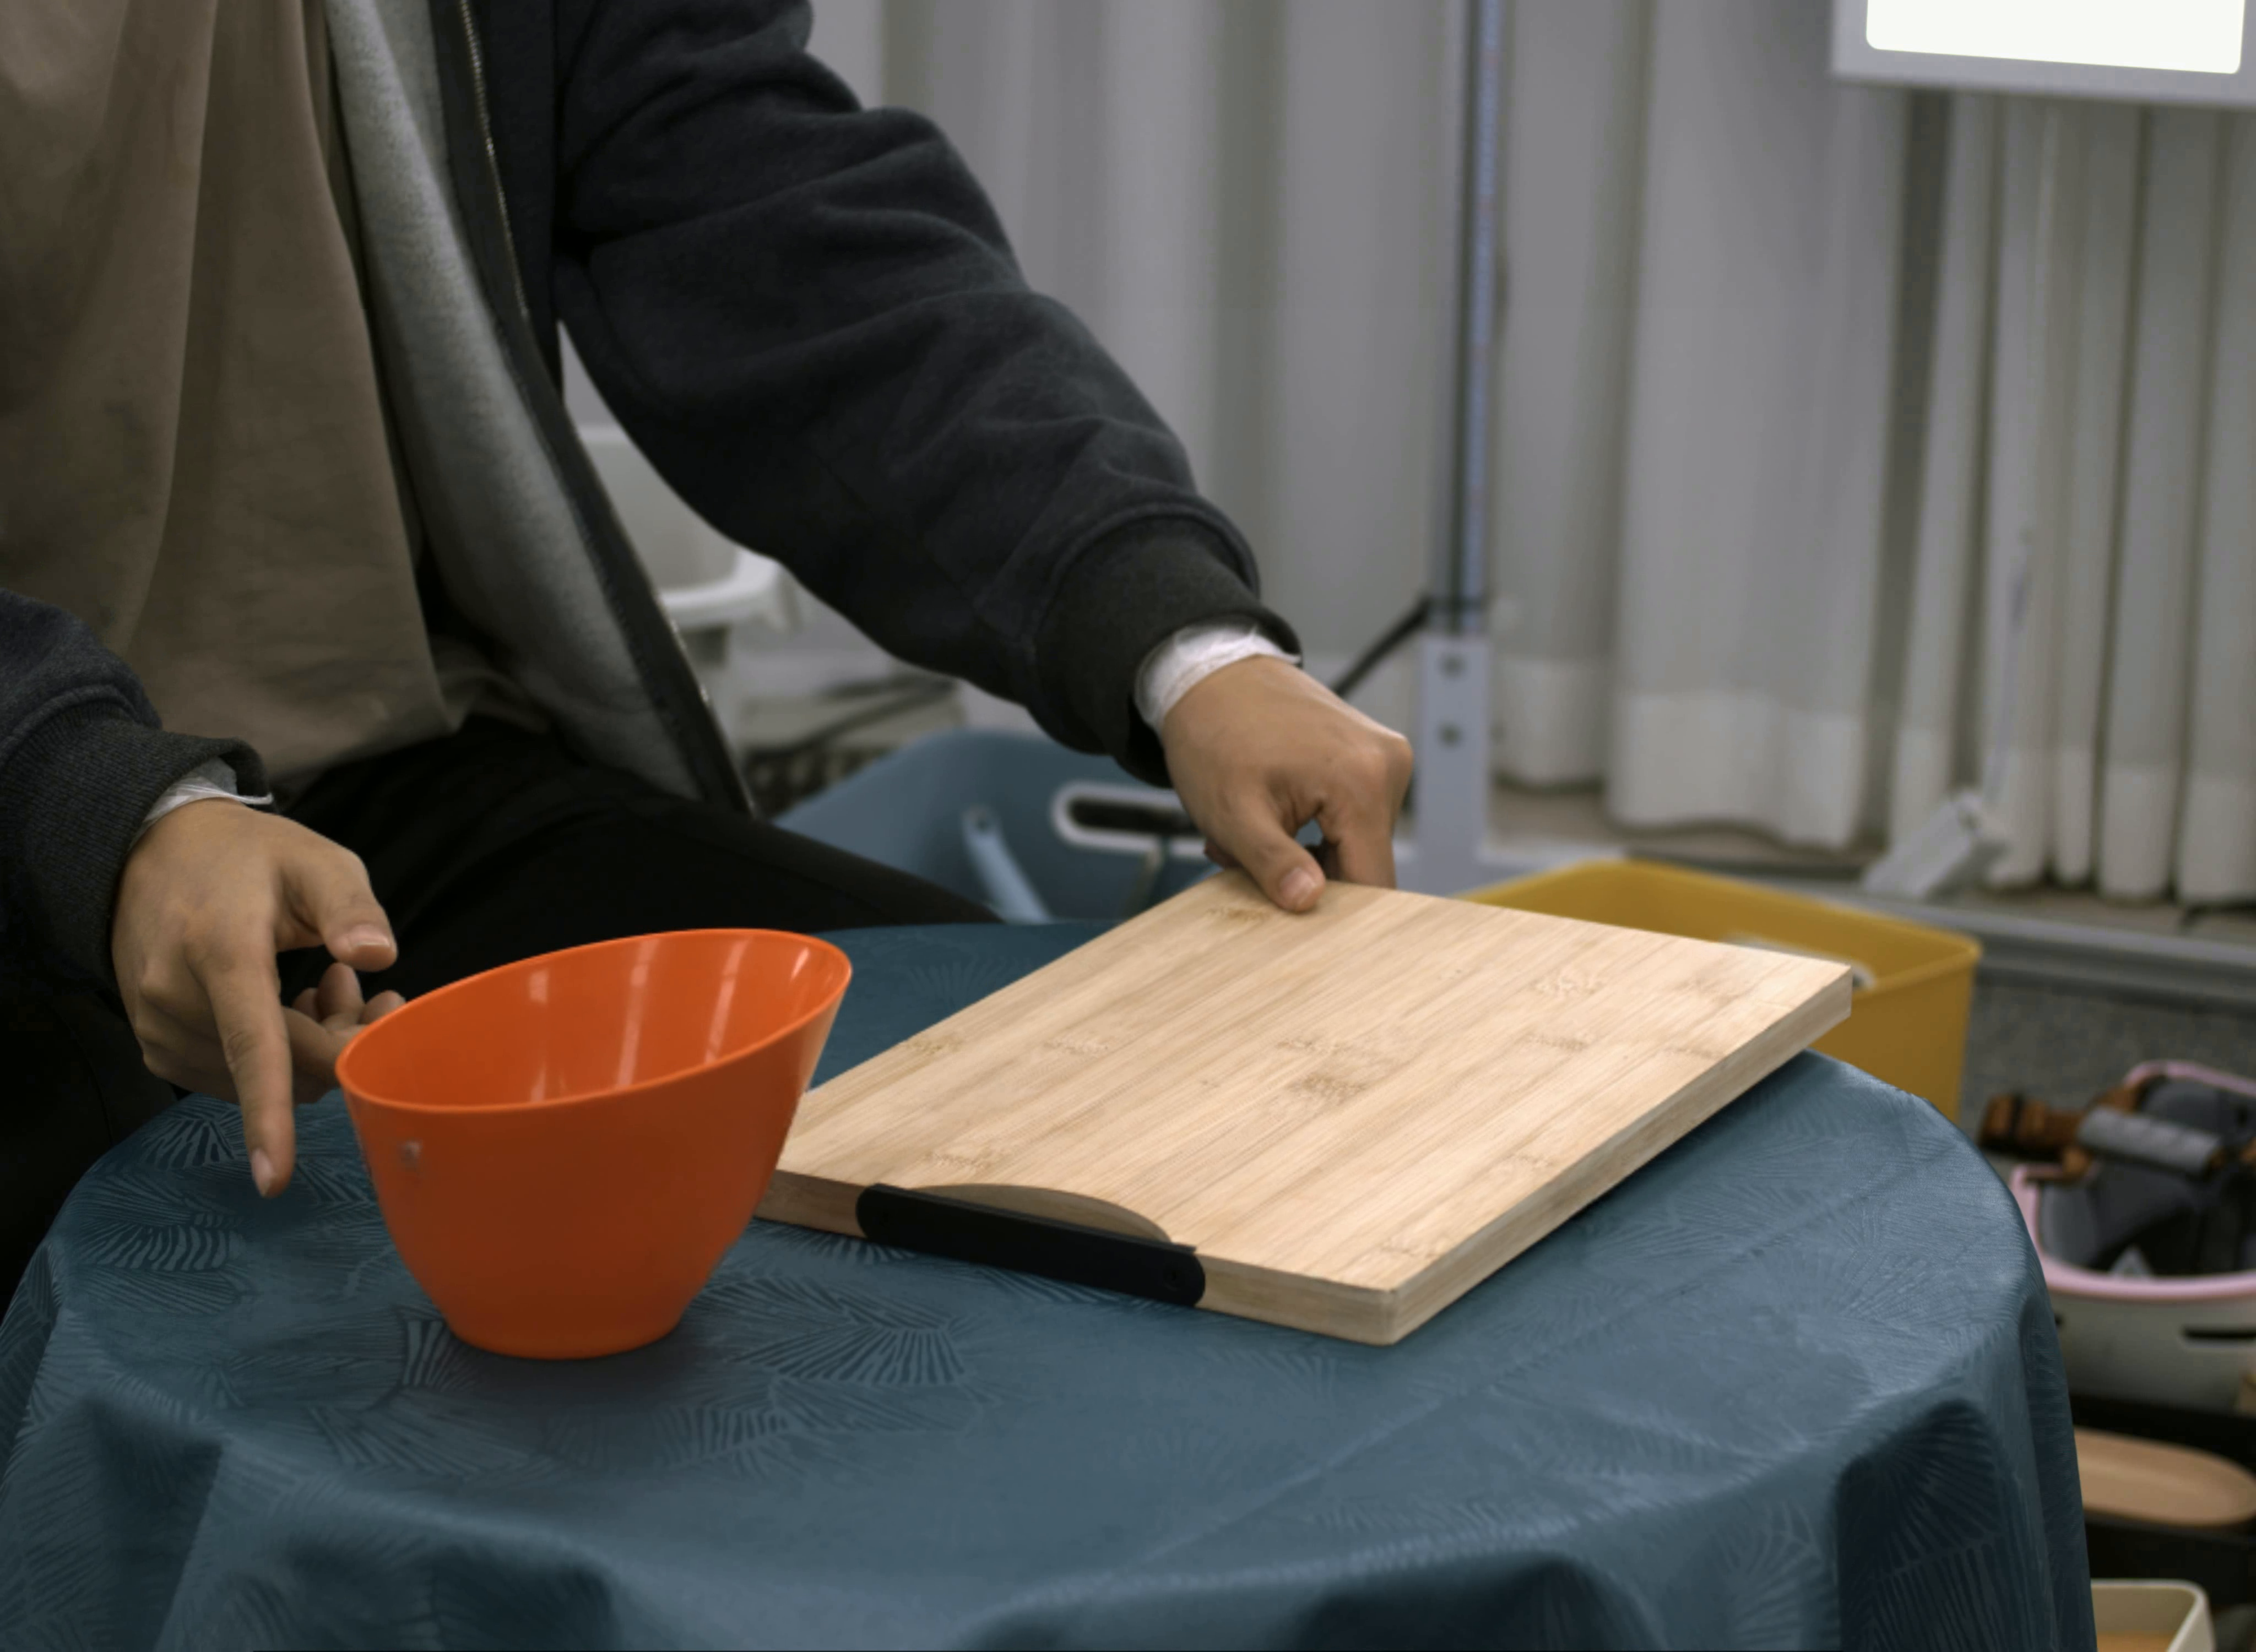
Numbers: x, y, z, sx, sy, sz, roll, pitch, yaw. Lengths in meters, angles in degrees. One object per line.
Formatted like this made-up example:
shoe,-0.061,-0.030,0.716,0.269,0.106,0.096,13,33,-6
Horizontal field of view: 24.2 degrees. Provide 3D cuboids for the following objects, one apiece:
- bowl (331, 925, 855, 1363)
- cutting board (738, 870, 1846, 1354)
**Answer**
bowl,-0.151,0.092,1.496,0.147,0.105,0.147,1,18,0
cutting board,0.052,0.084,1.684,0.248,0.024,0.349,8,18,28
